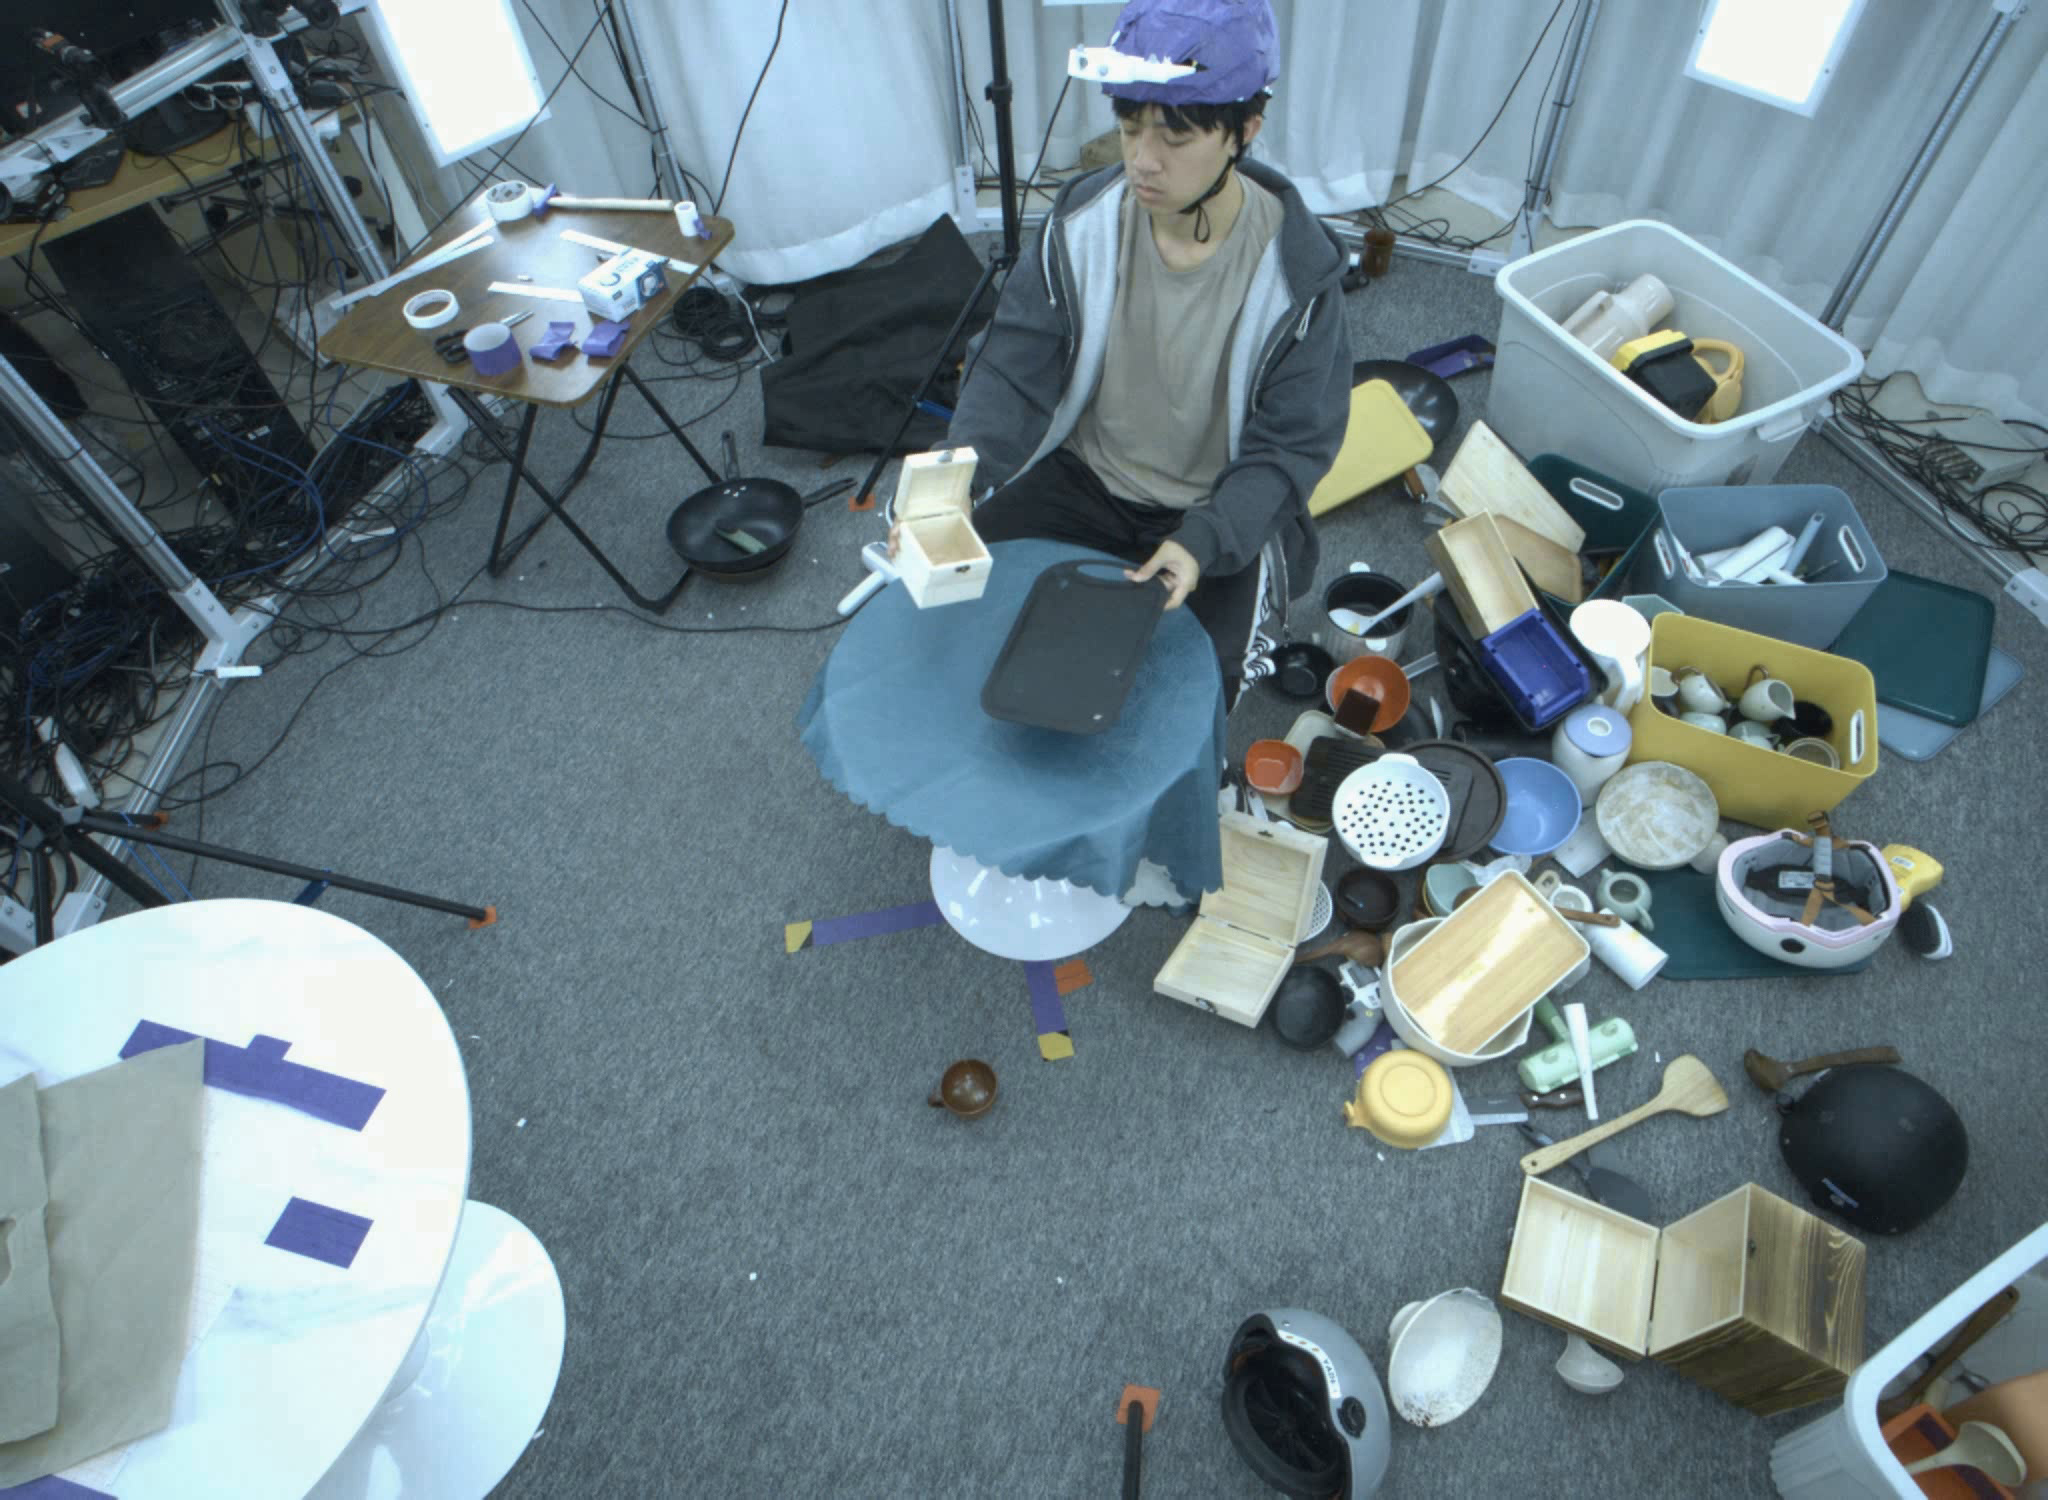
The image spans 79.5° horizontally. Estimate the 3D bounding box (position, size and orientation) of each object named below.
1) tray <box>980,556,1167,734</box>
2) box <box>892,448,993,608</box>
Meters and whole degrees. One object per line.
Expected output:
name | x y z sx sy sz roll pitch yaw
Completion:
tray | 0.076 -0.164 1.783 0.208 0.010 0.325 13 59 19
box | -0.110 -0.312 1.708 0.104 0.184 0.131 -16 59 -29
